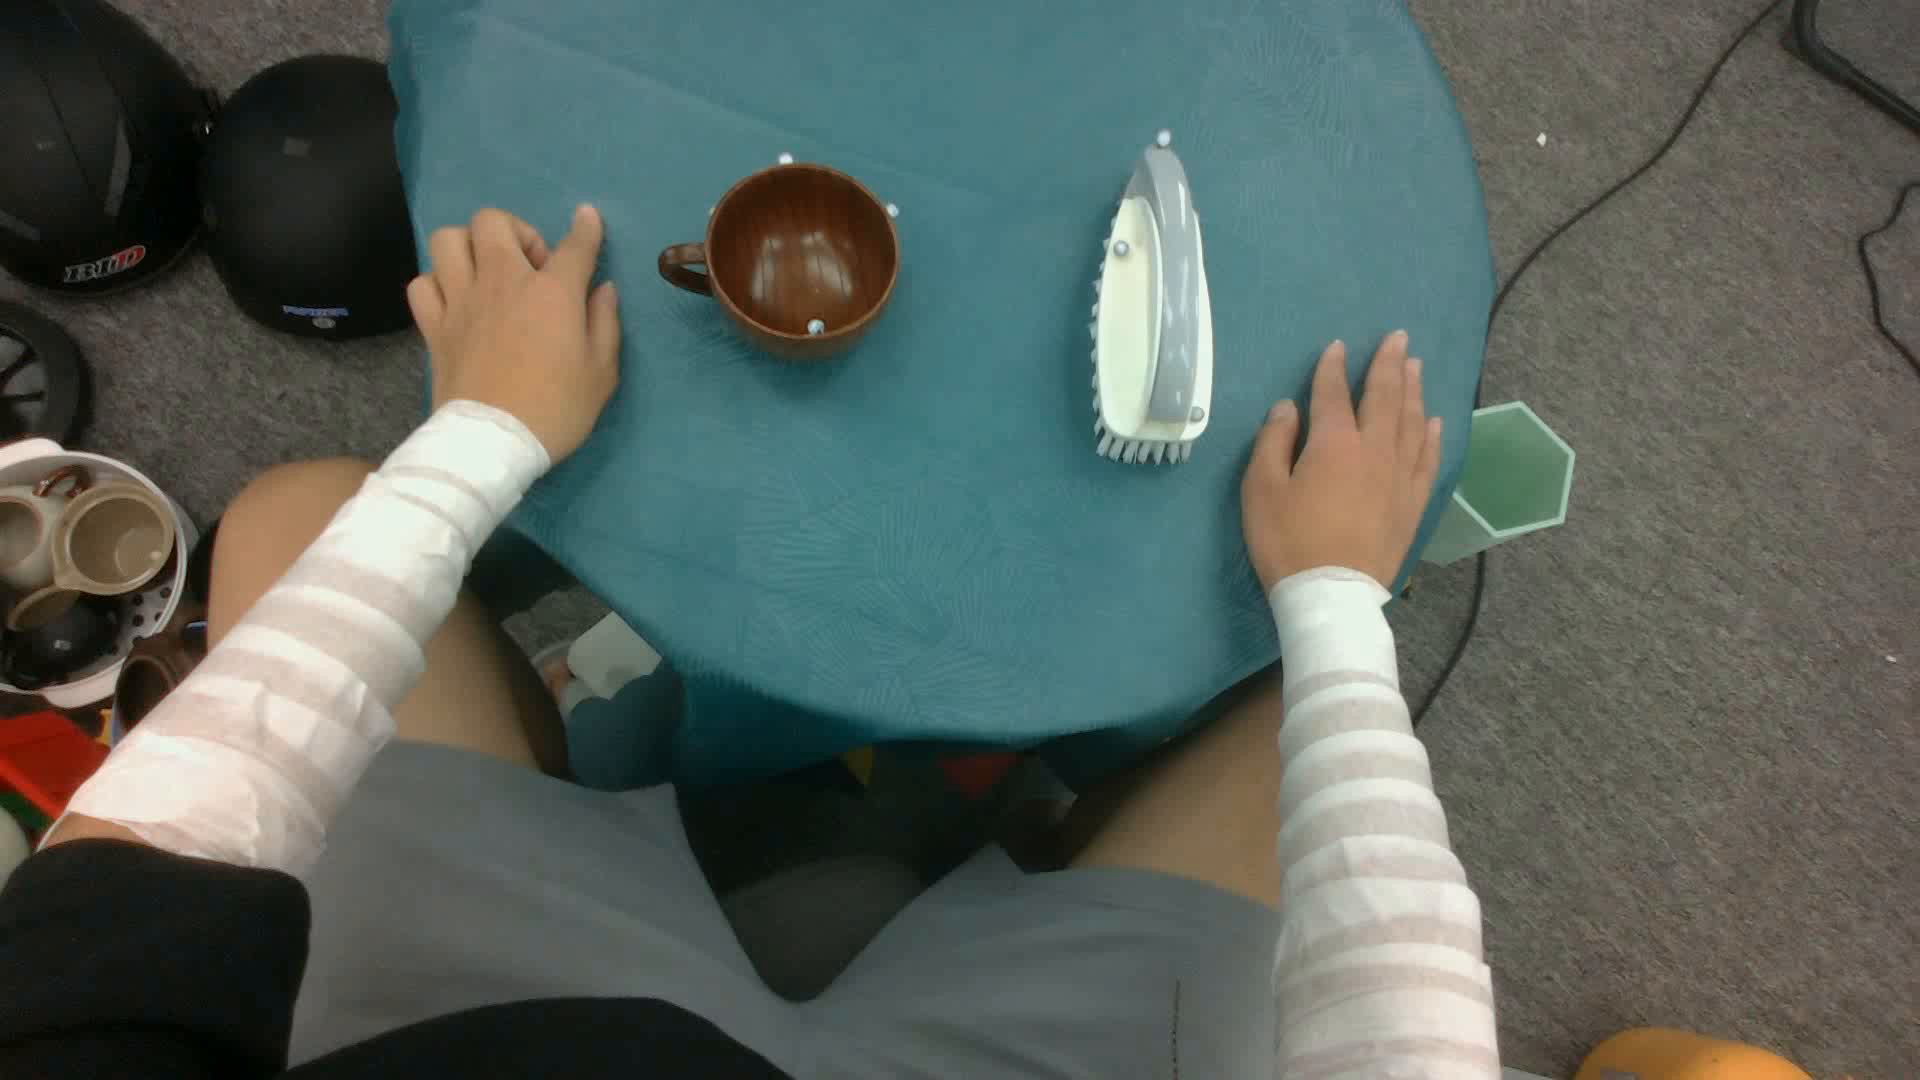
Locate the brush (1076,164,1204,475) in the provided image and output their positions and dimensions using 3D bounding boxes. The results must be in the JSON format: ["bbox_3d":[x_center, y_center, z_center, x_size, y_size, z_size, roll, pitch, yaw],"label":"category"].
[{"bbox_3d":[0.100,-0.130,0.733,0.061,0.094,0.176,4,72,-10],"label":"brush"}]

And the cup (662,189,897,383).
[{"bbox_3d":[-0.094,-0.126,0.721,0.119,0.067,0.096,-5,78,-7],"label":"cup"}]
